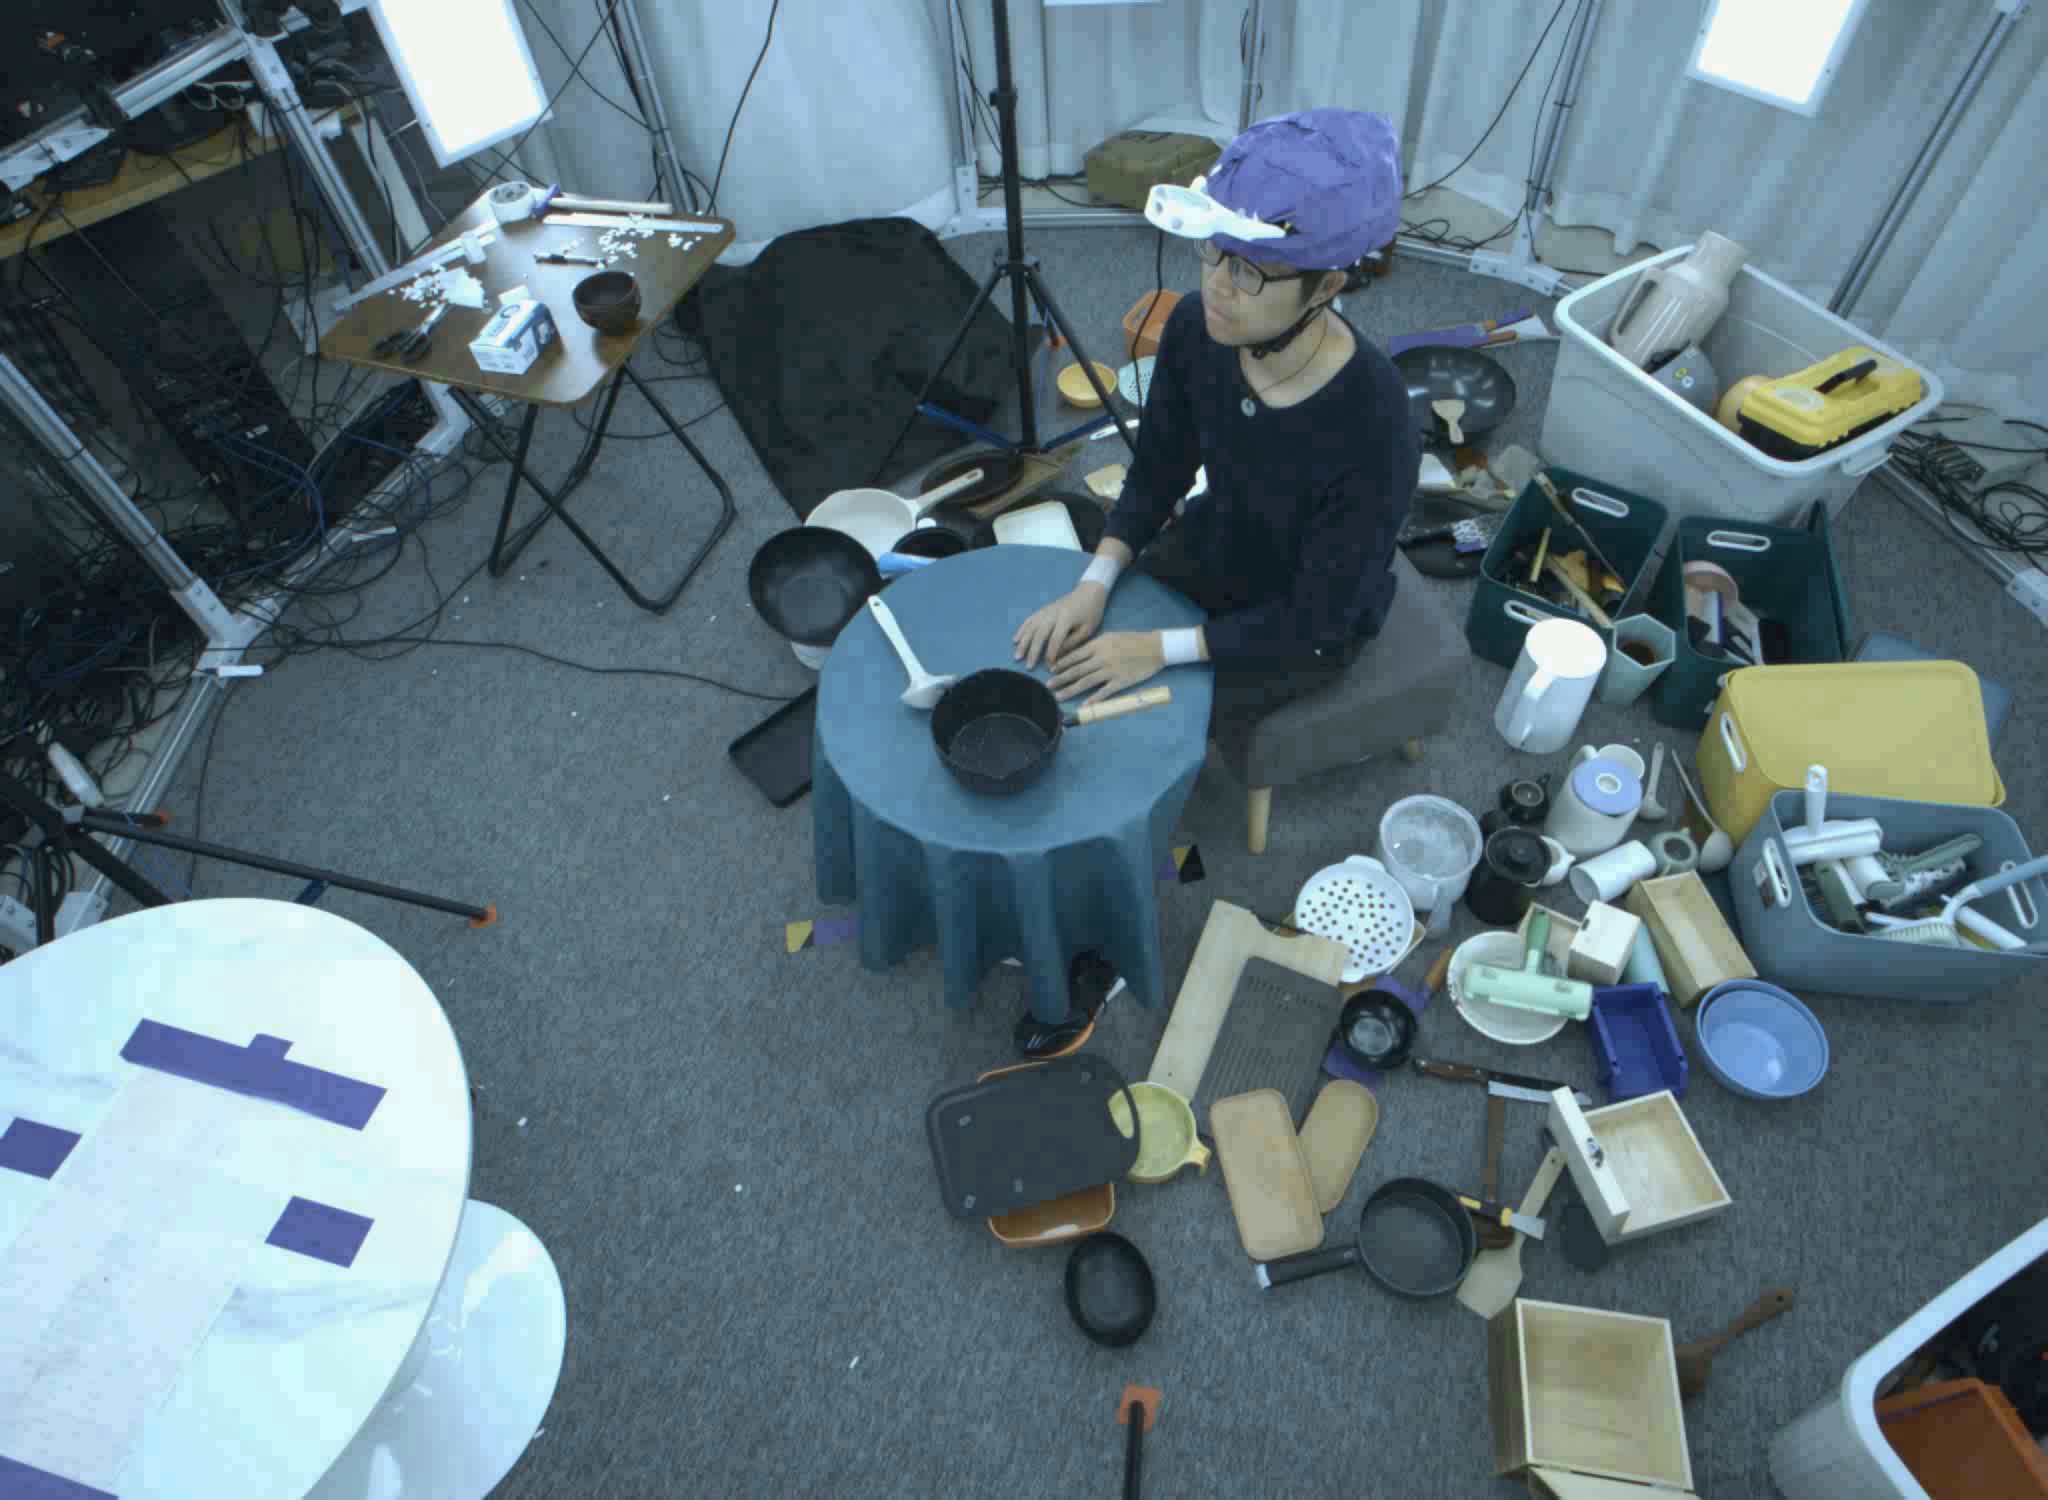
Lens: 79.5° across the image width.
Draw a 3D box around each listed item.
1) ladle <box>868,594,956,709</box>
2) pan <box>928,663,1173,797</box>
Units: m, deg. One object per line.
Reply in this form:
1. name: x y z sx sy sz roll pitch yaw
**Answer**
1. ladle: -0.189 -0.169 1.871 0.090 0.070 0.270 -26 58 -9
2. pan: 0.040 -0.035 1.744 0.343 0.109 0.204 -8 53 -2
